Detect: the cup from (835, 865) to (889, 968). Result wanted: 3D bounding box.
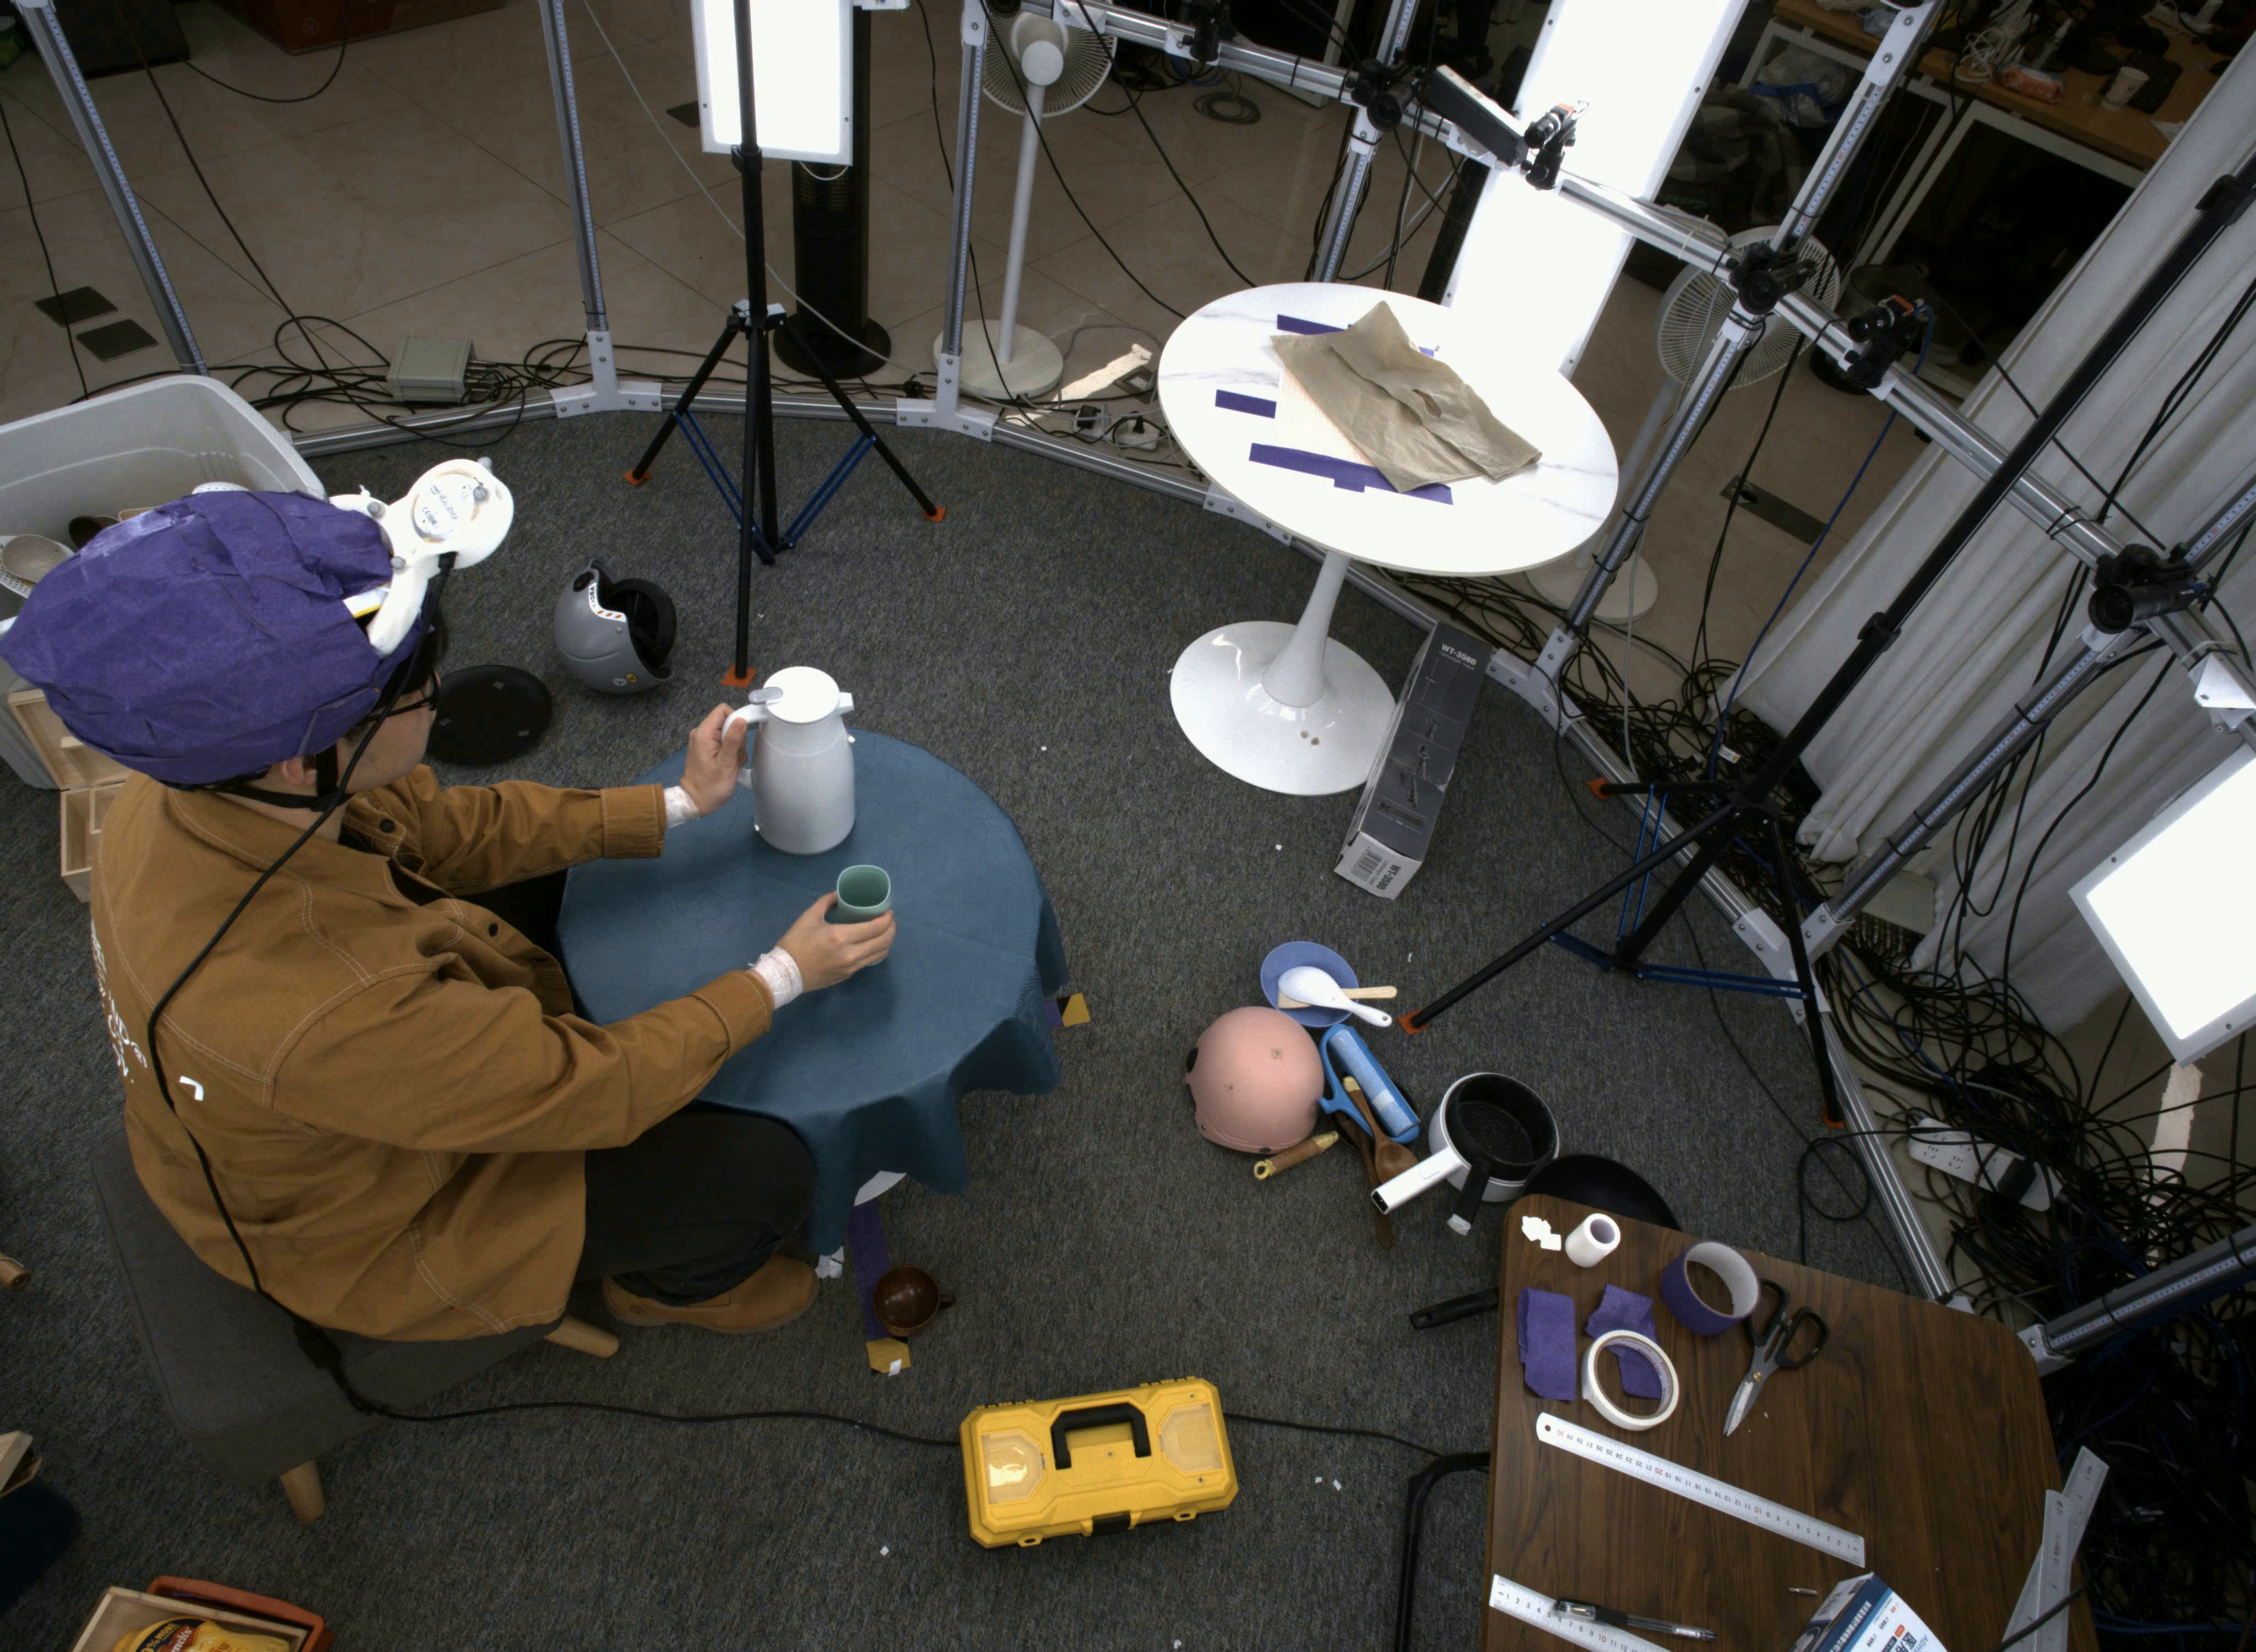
[{"bbox_3d":[-0.324,0.111,1.585,0.066,0.135,0.065,6,51,-6],"label":"cup"}]

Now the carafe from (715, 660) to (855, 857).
[{"bbox_3d":[-0.430,-0.088,1.626,0.168,0.254,0.129,-7,54,-16],"label":"carafe"}]
